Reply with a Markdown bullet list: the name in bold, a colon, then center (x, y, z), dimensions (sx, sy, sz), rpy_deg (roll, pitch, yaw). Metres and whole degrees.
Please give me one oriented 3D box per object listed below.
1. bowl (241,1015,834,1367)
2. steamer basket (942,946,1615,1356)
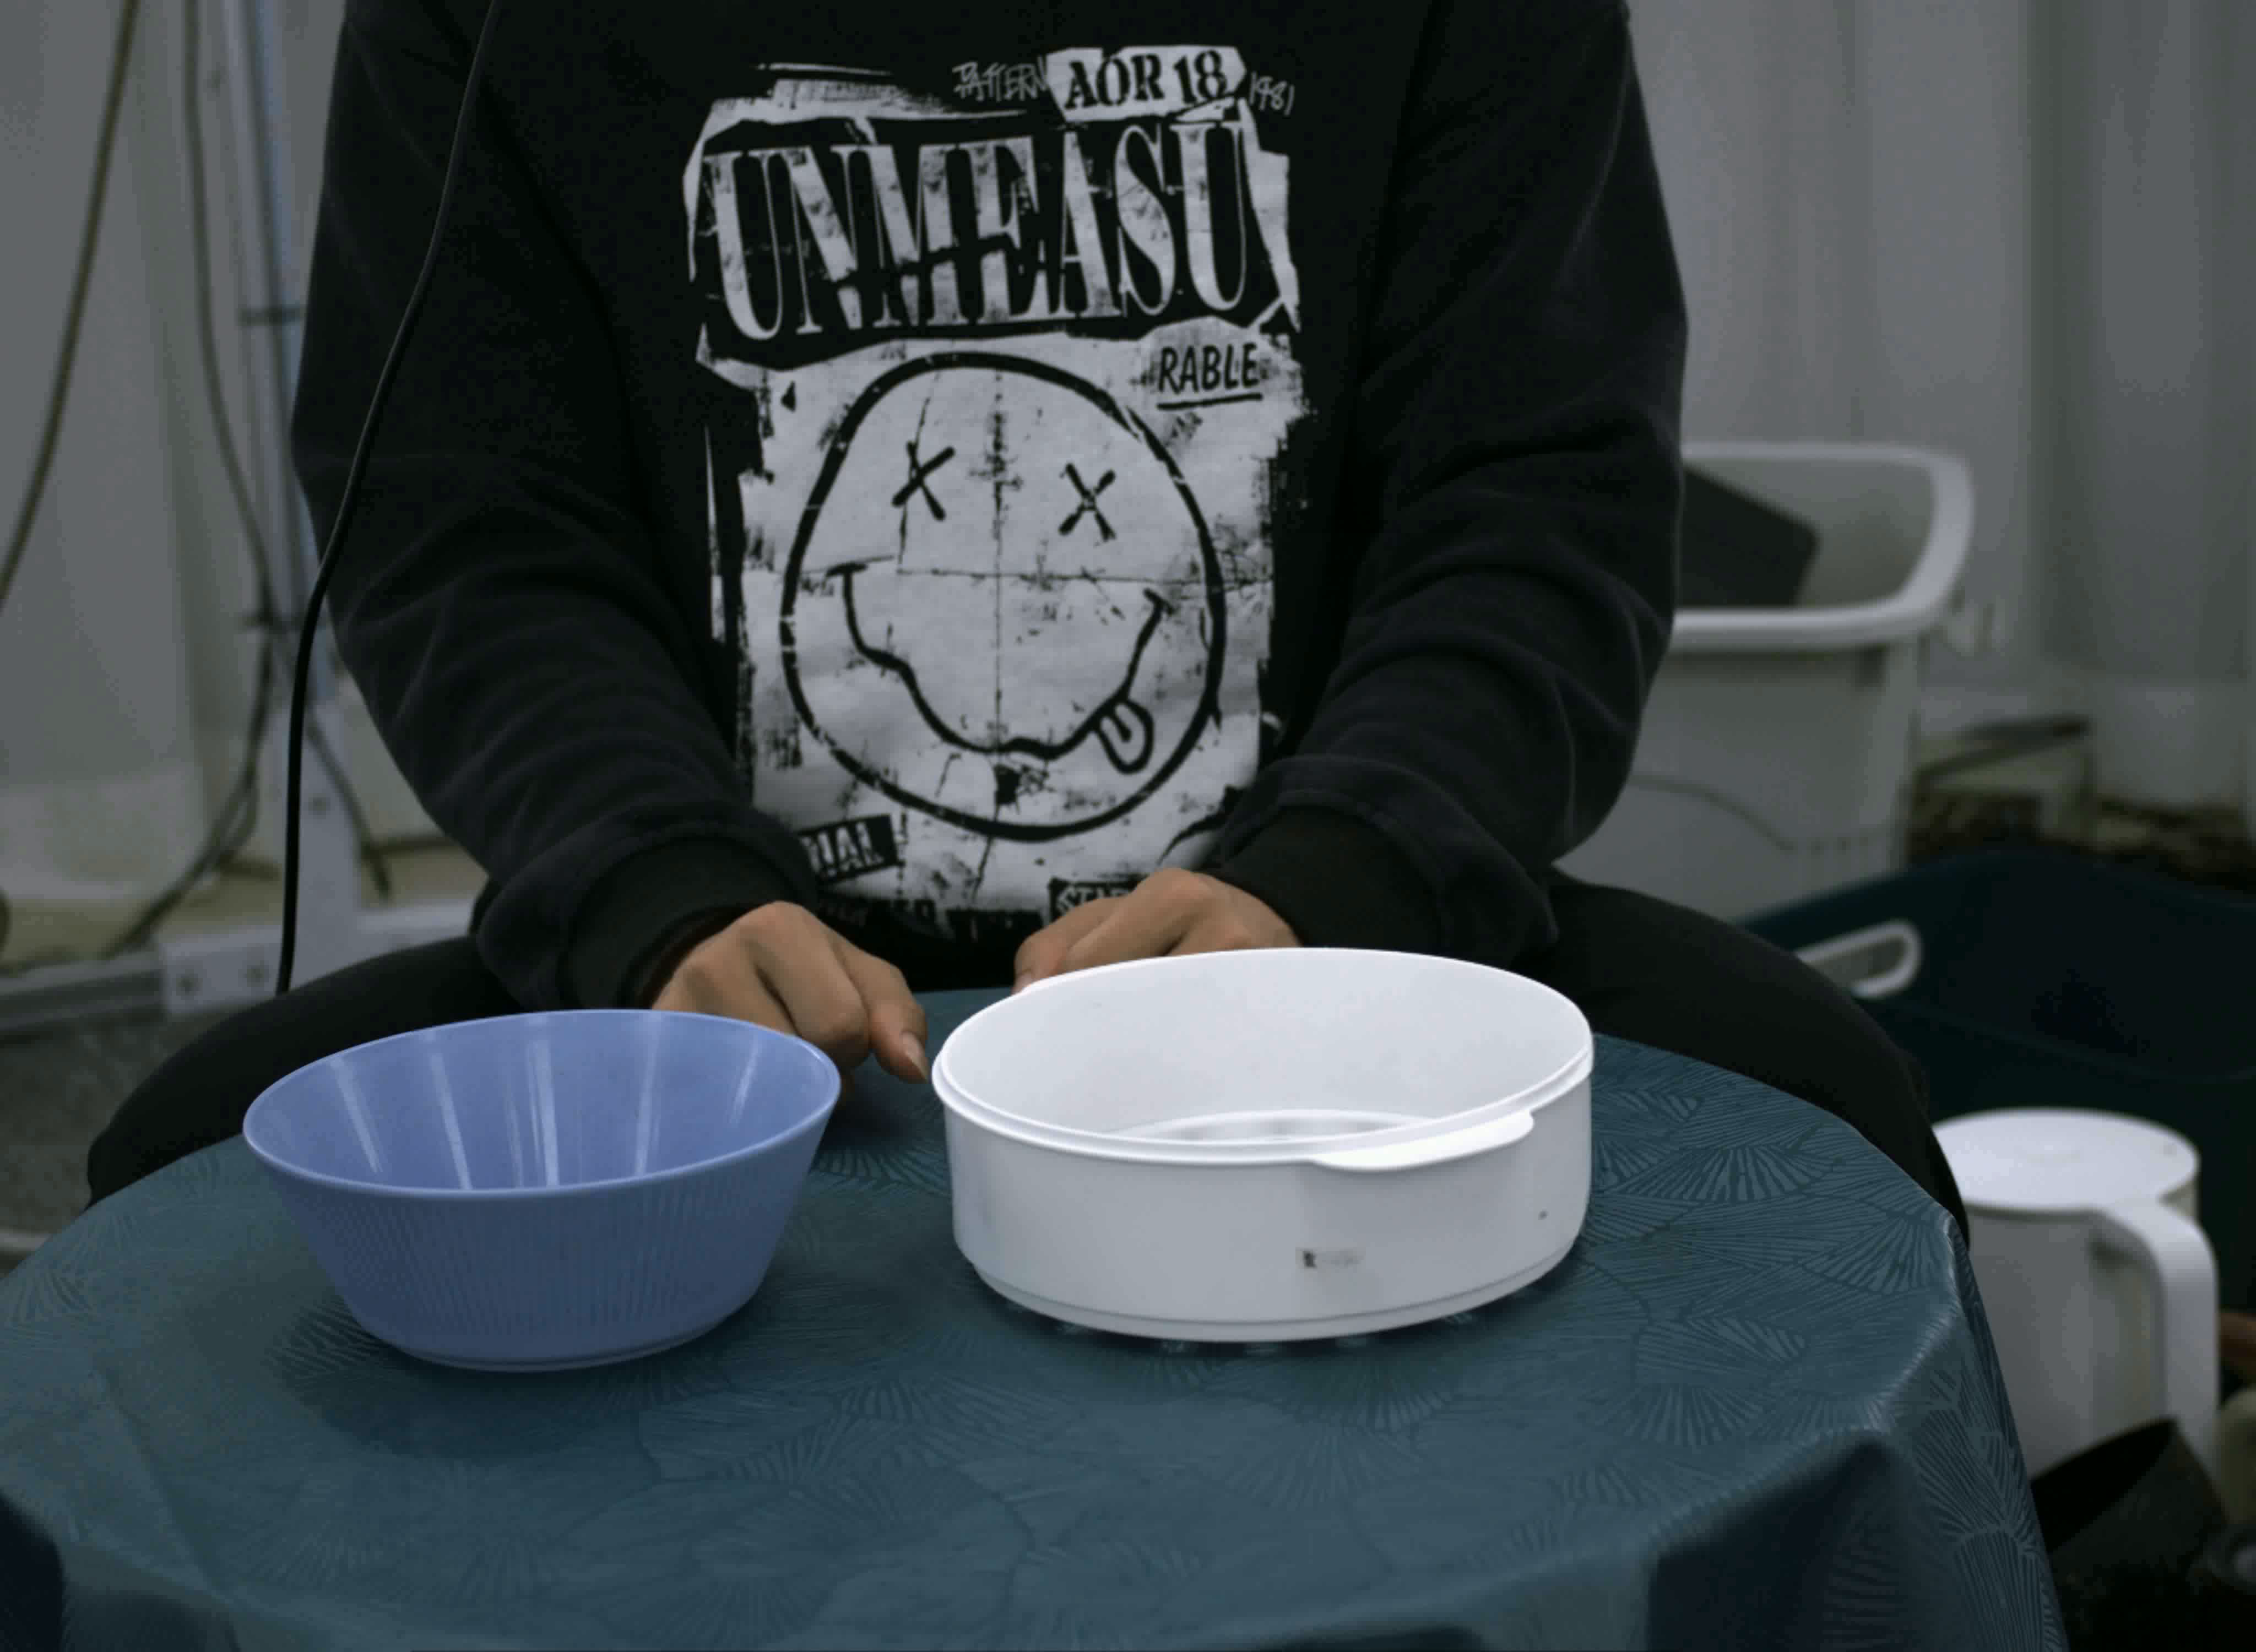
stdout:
- **bowl**: center (-0.173, 0.111, 1.625), dimensions (0.175, 0.070, 0.177), rpy_deg (-2, 14, 0)
- **steamer basket**: center (0.046, 0.097, 1.641), dimensions (0.201, 0.069, 0.232), rpy_deg (-10, 18, -26)
